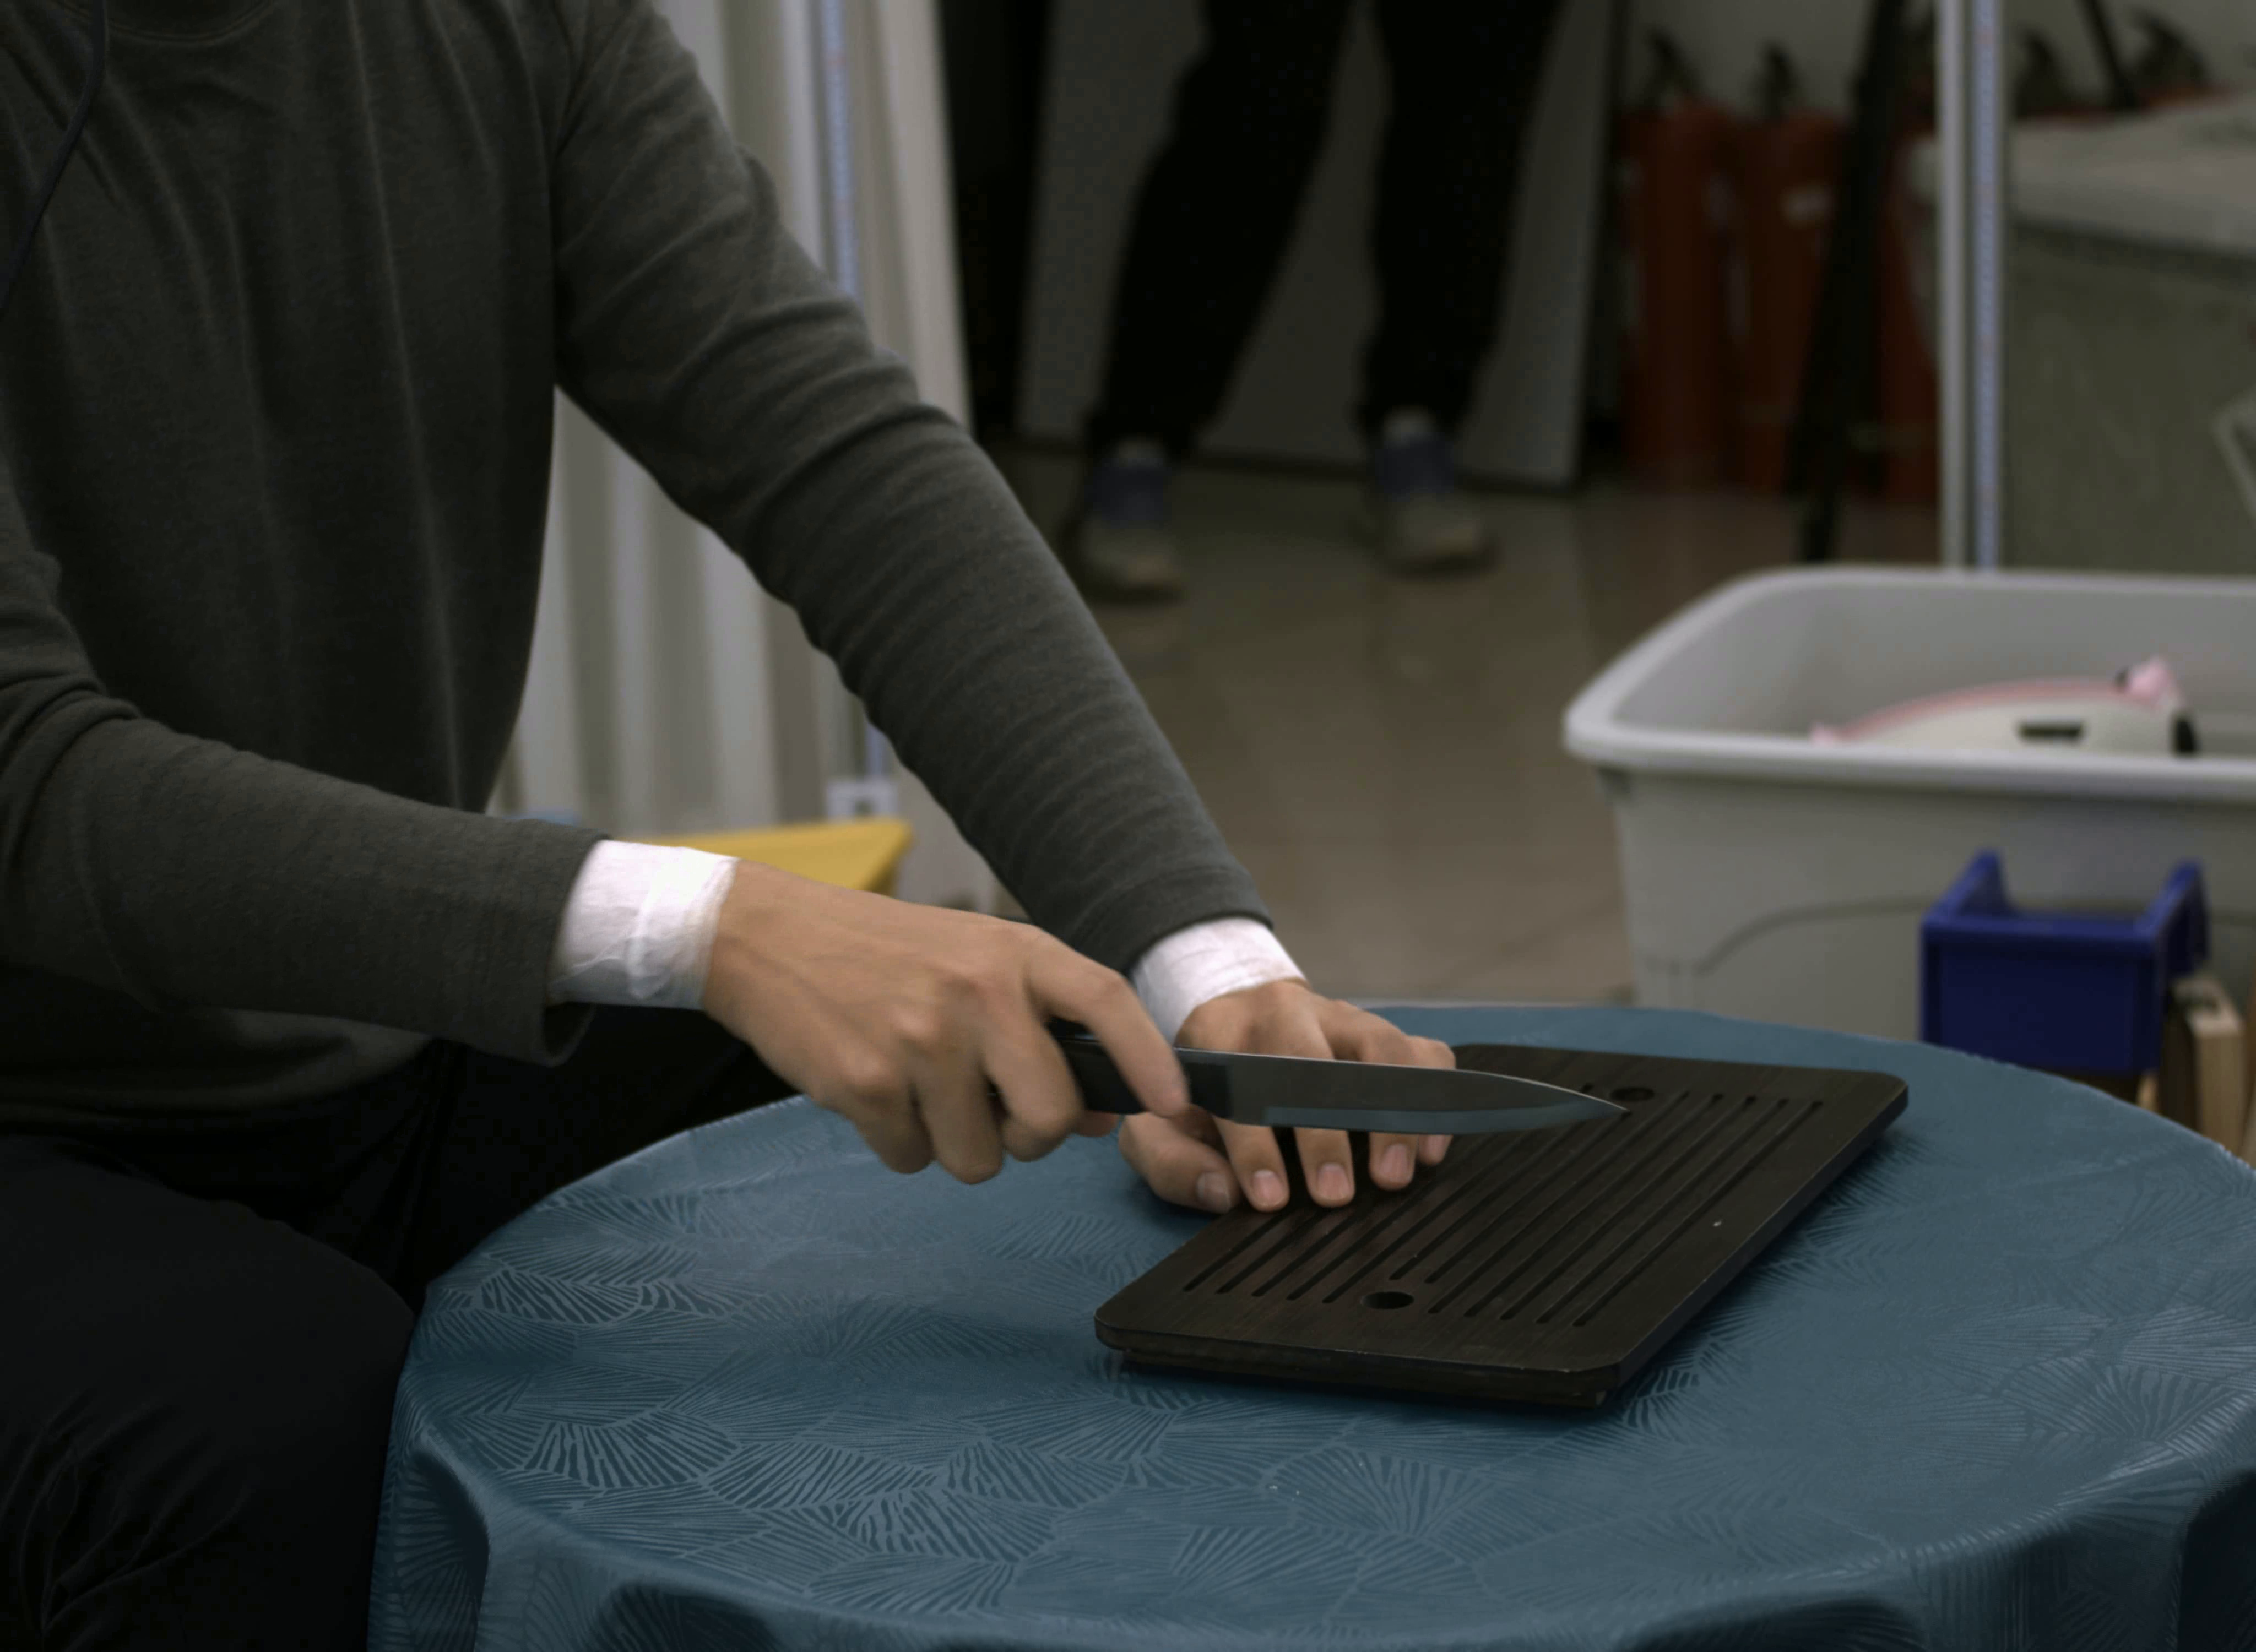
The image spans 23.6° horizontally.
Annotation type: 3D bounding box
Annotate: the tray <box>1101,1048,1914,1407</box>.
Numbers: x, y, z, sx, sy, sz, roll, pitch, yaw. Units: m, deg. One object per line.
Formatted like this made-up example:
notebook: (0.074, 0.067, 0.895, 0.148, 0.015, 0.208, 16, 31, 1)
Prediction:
tray: (0.127, 0.123, 1.692, 0.170, 0.019, 0.302, 2, 15, 26)

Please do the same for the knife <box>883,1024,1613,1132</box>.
knife: (0.034, 0.074, 1.610, 0.238, 0.025, 0.016, 3, 11, 25)
